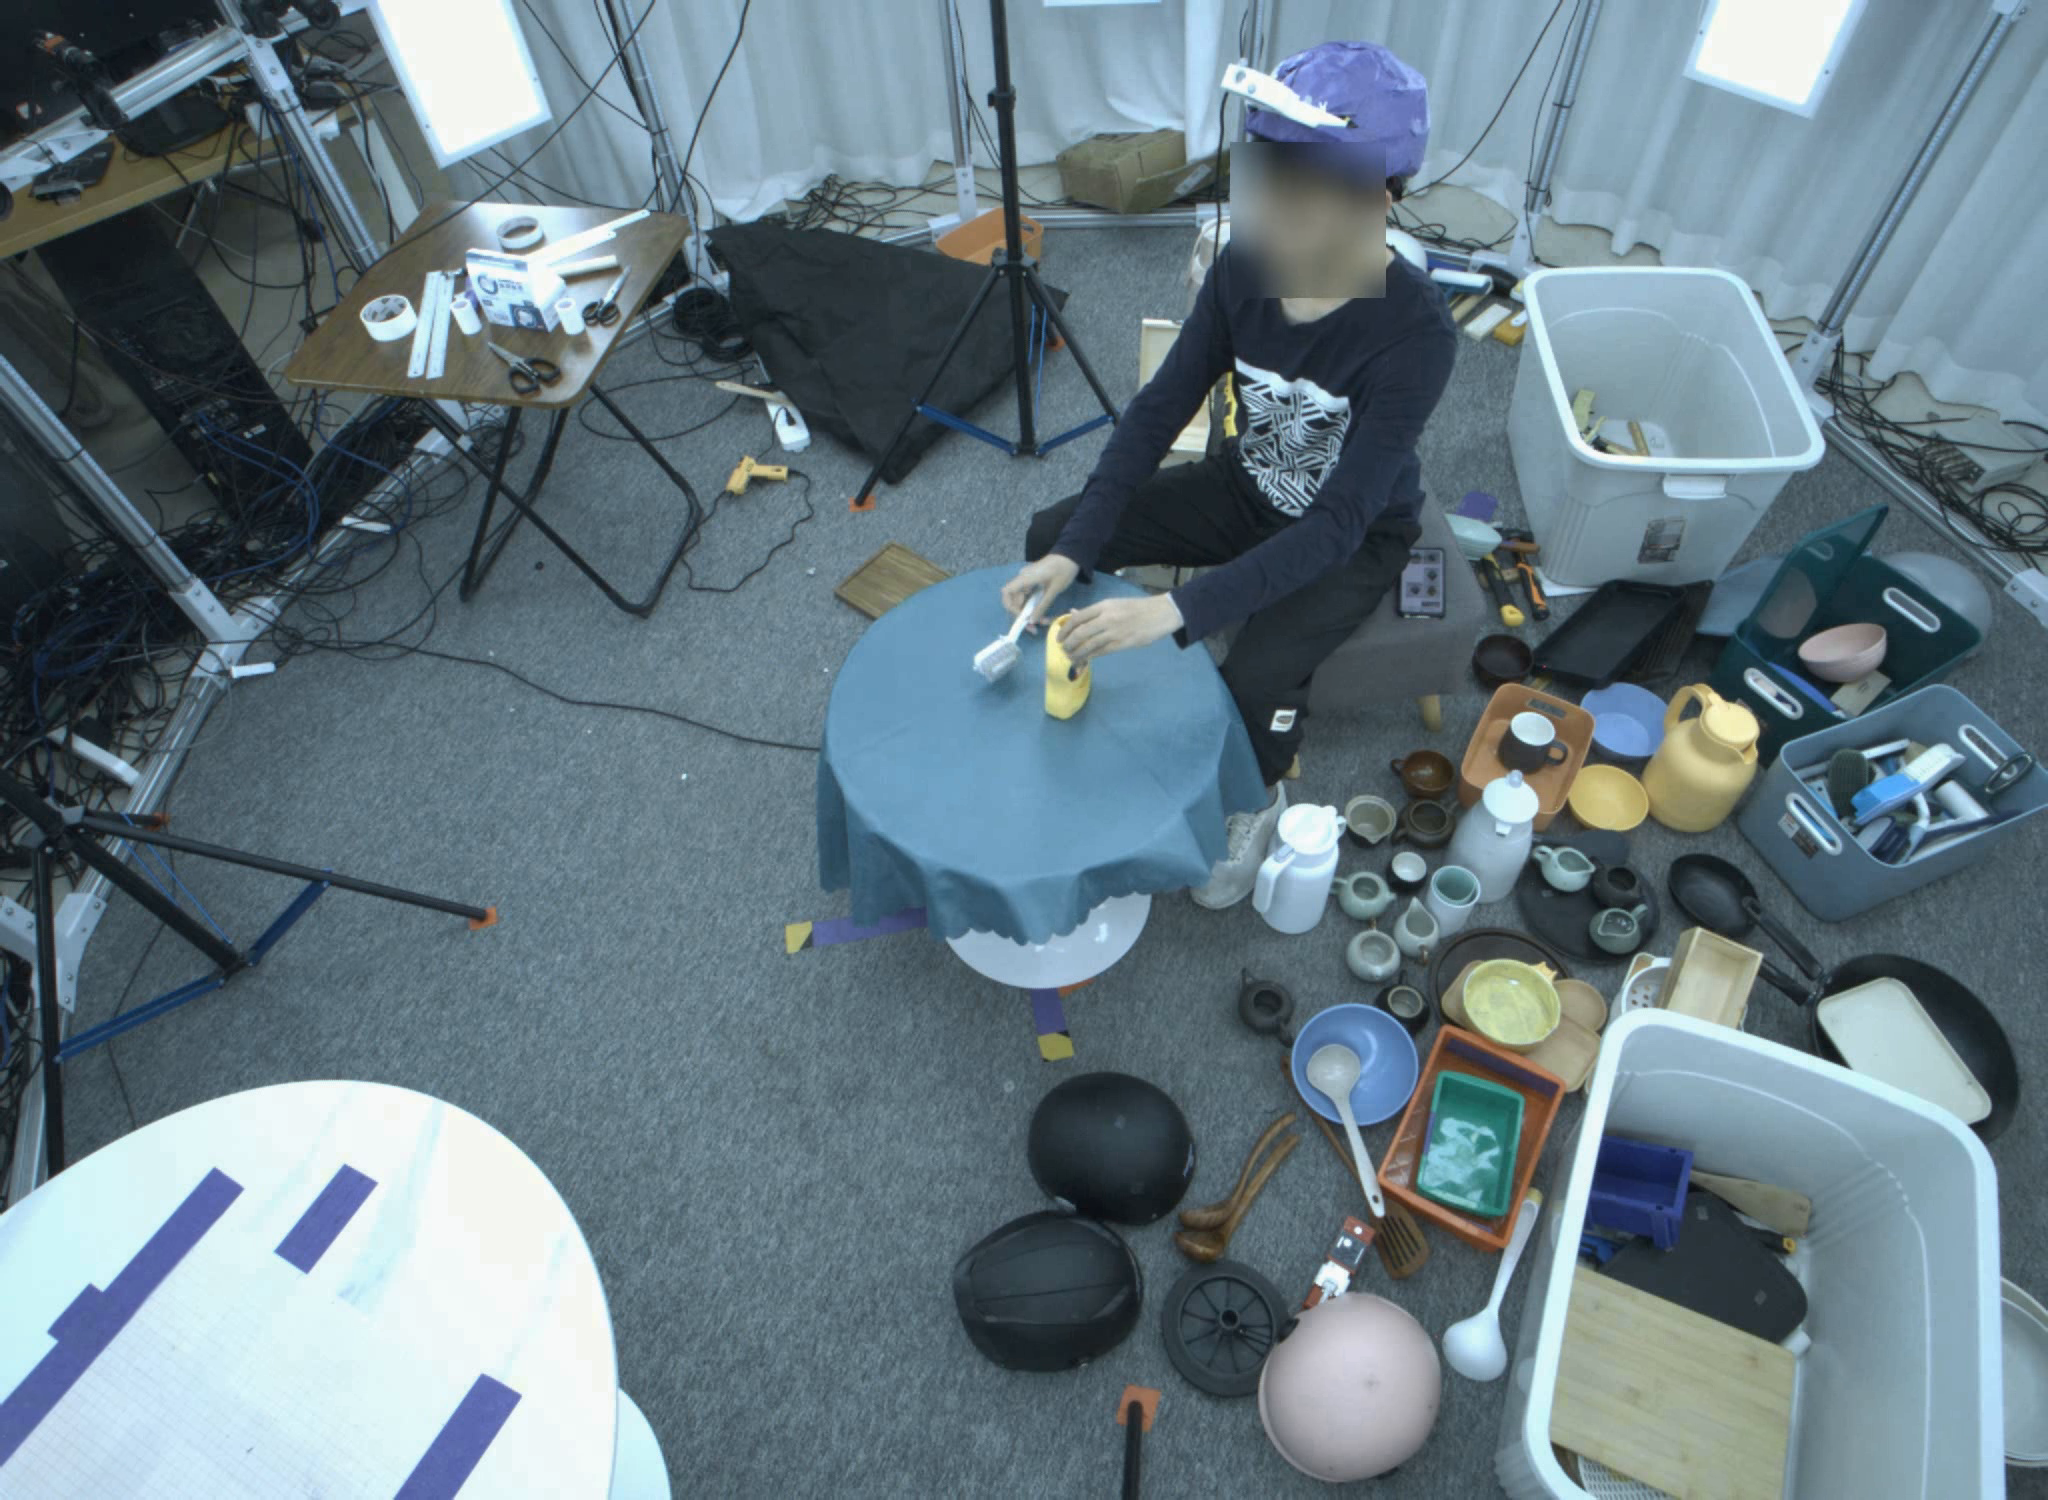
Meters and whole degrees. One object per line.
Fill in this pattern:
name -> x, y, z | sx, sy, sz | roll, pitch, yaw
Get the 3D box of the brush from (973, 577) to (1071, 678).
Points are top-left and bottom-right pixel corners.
brush -> 0.010, -0.192, 1.865 | 0.049, 0.035, 0.245 | -3, 37, 51

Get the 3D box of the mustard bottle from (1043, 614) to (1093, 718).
mustard bottle -> 0.064, -0.130, 1.763 | 0.059, 0.173, 0.098 | 20, 58, 11
